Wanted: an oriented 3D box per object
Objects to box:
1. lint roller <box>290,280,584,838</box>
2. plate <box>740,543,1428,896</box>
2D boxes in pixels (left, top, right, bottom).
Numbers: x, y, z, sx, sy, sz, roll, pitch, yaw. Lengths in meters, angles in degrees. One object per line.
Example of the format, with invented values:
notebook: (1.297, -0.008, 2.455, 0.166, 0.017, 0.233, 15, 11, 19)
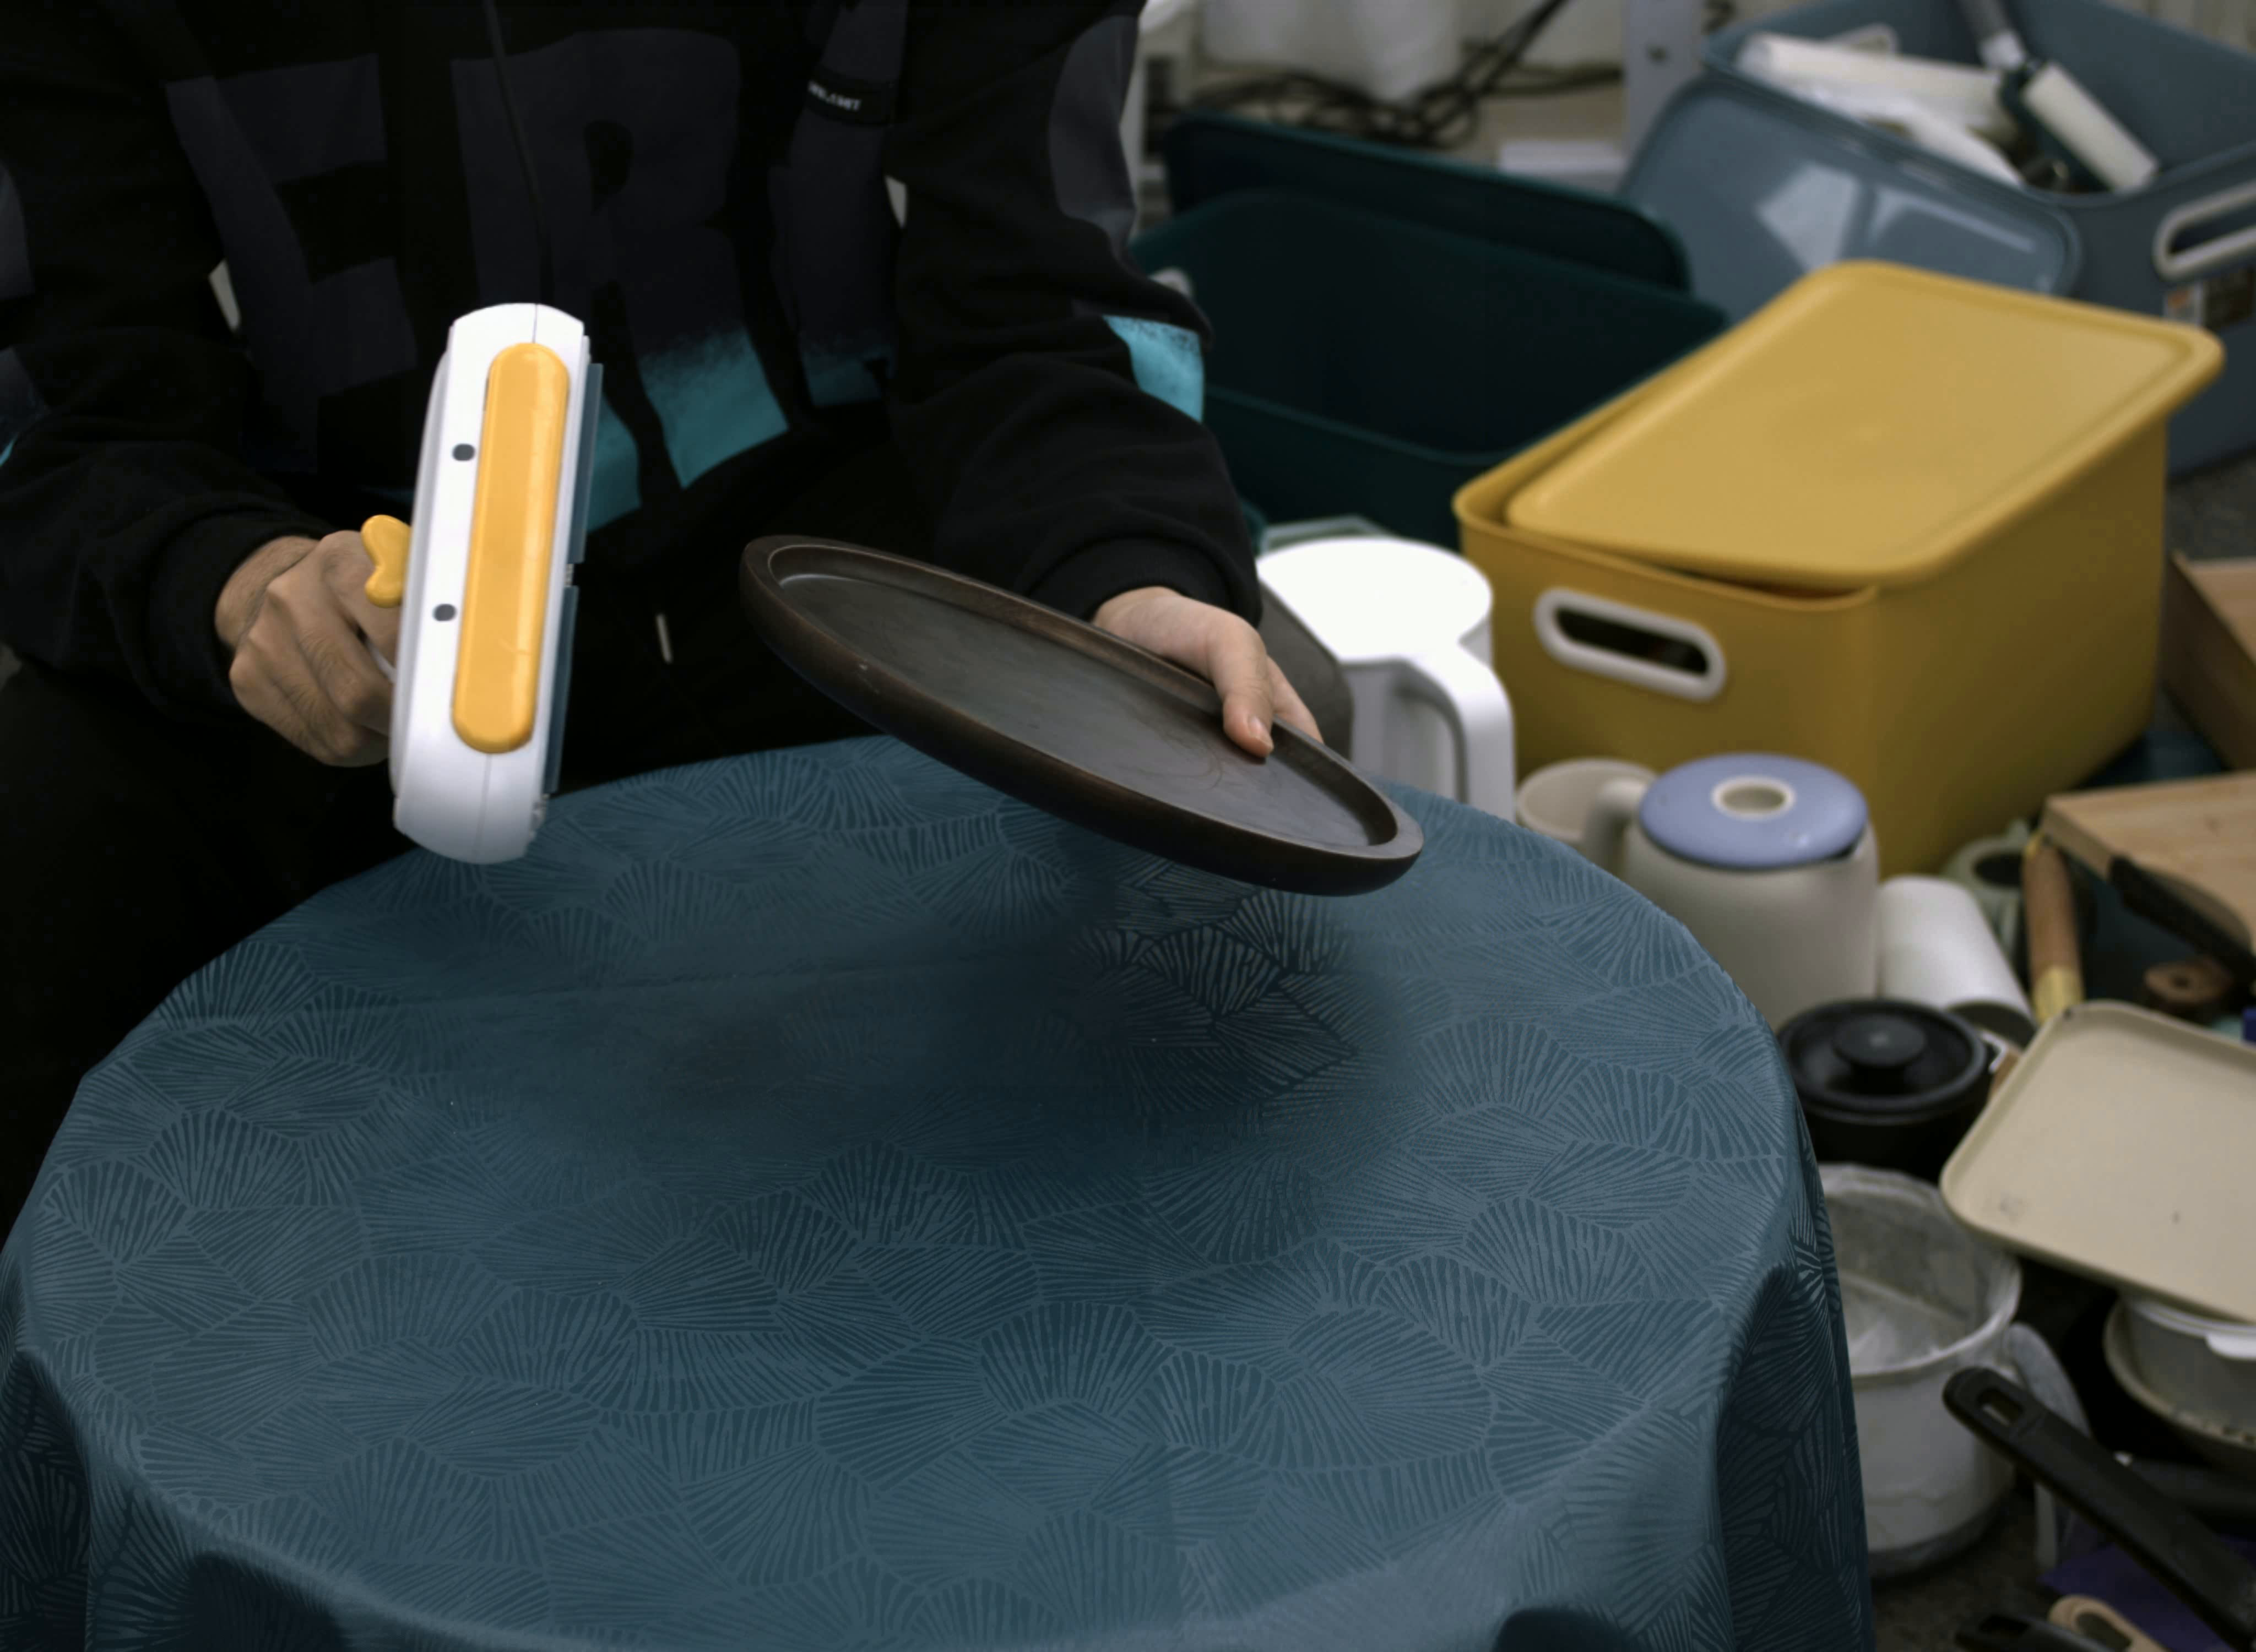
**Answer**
lint roller: (-0.239, -0.067, 1.919, 0.074, 0.189, 0.196, 7, 64, -18)
plate: (-0.017, -0.037, 1.909, 0.254, 0.029, 0.256, 24, 9, -3)
